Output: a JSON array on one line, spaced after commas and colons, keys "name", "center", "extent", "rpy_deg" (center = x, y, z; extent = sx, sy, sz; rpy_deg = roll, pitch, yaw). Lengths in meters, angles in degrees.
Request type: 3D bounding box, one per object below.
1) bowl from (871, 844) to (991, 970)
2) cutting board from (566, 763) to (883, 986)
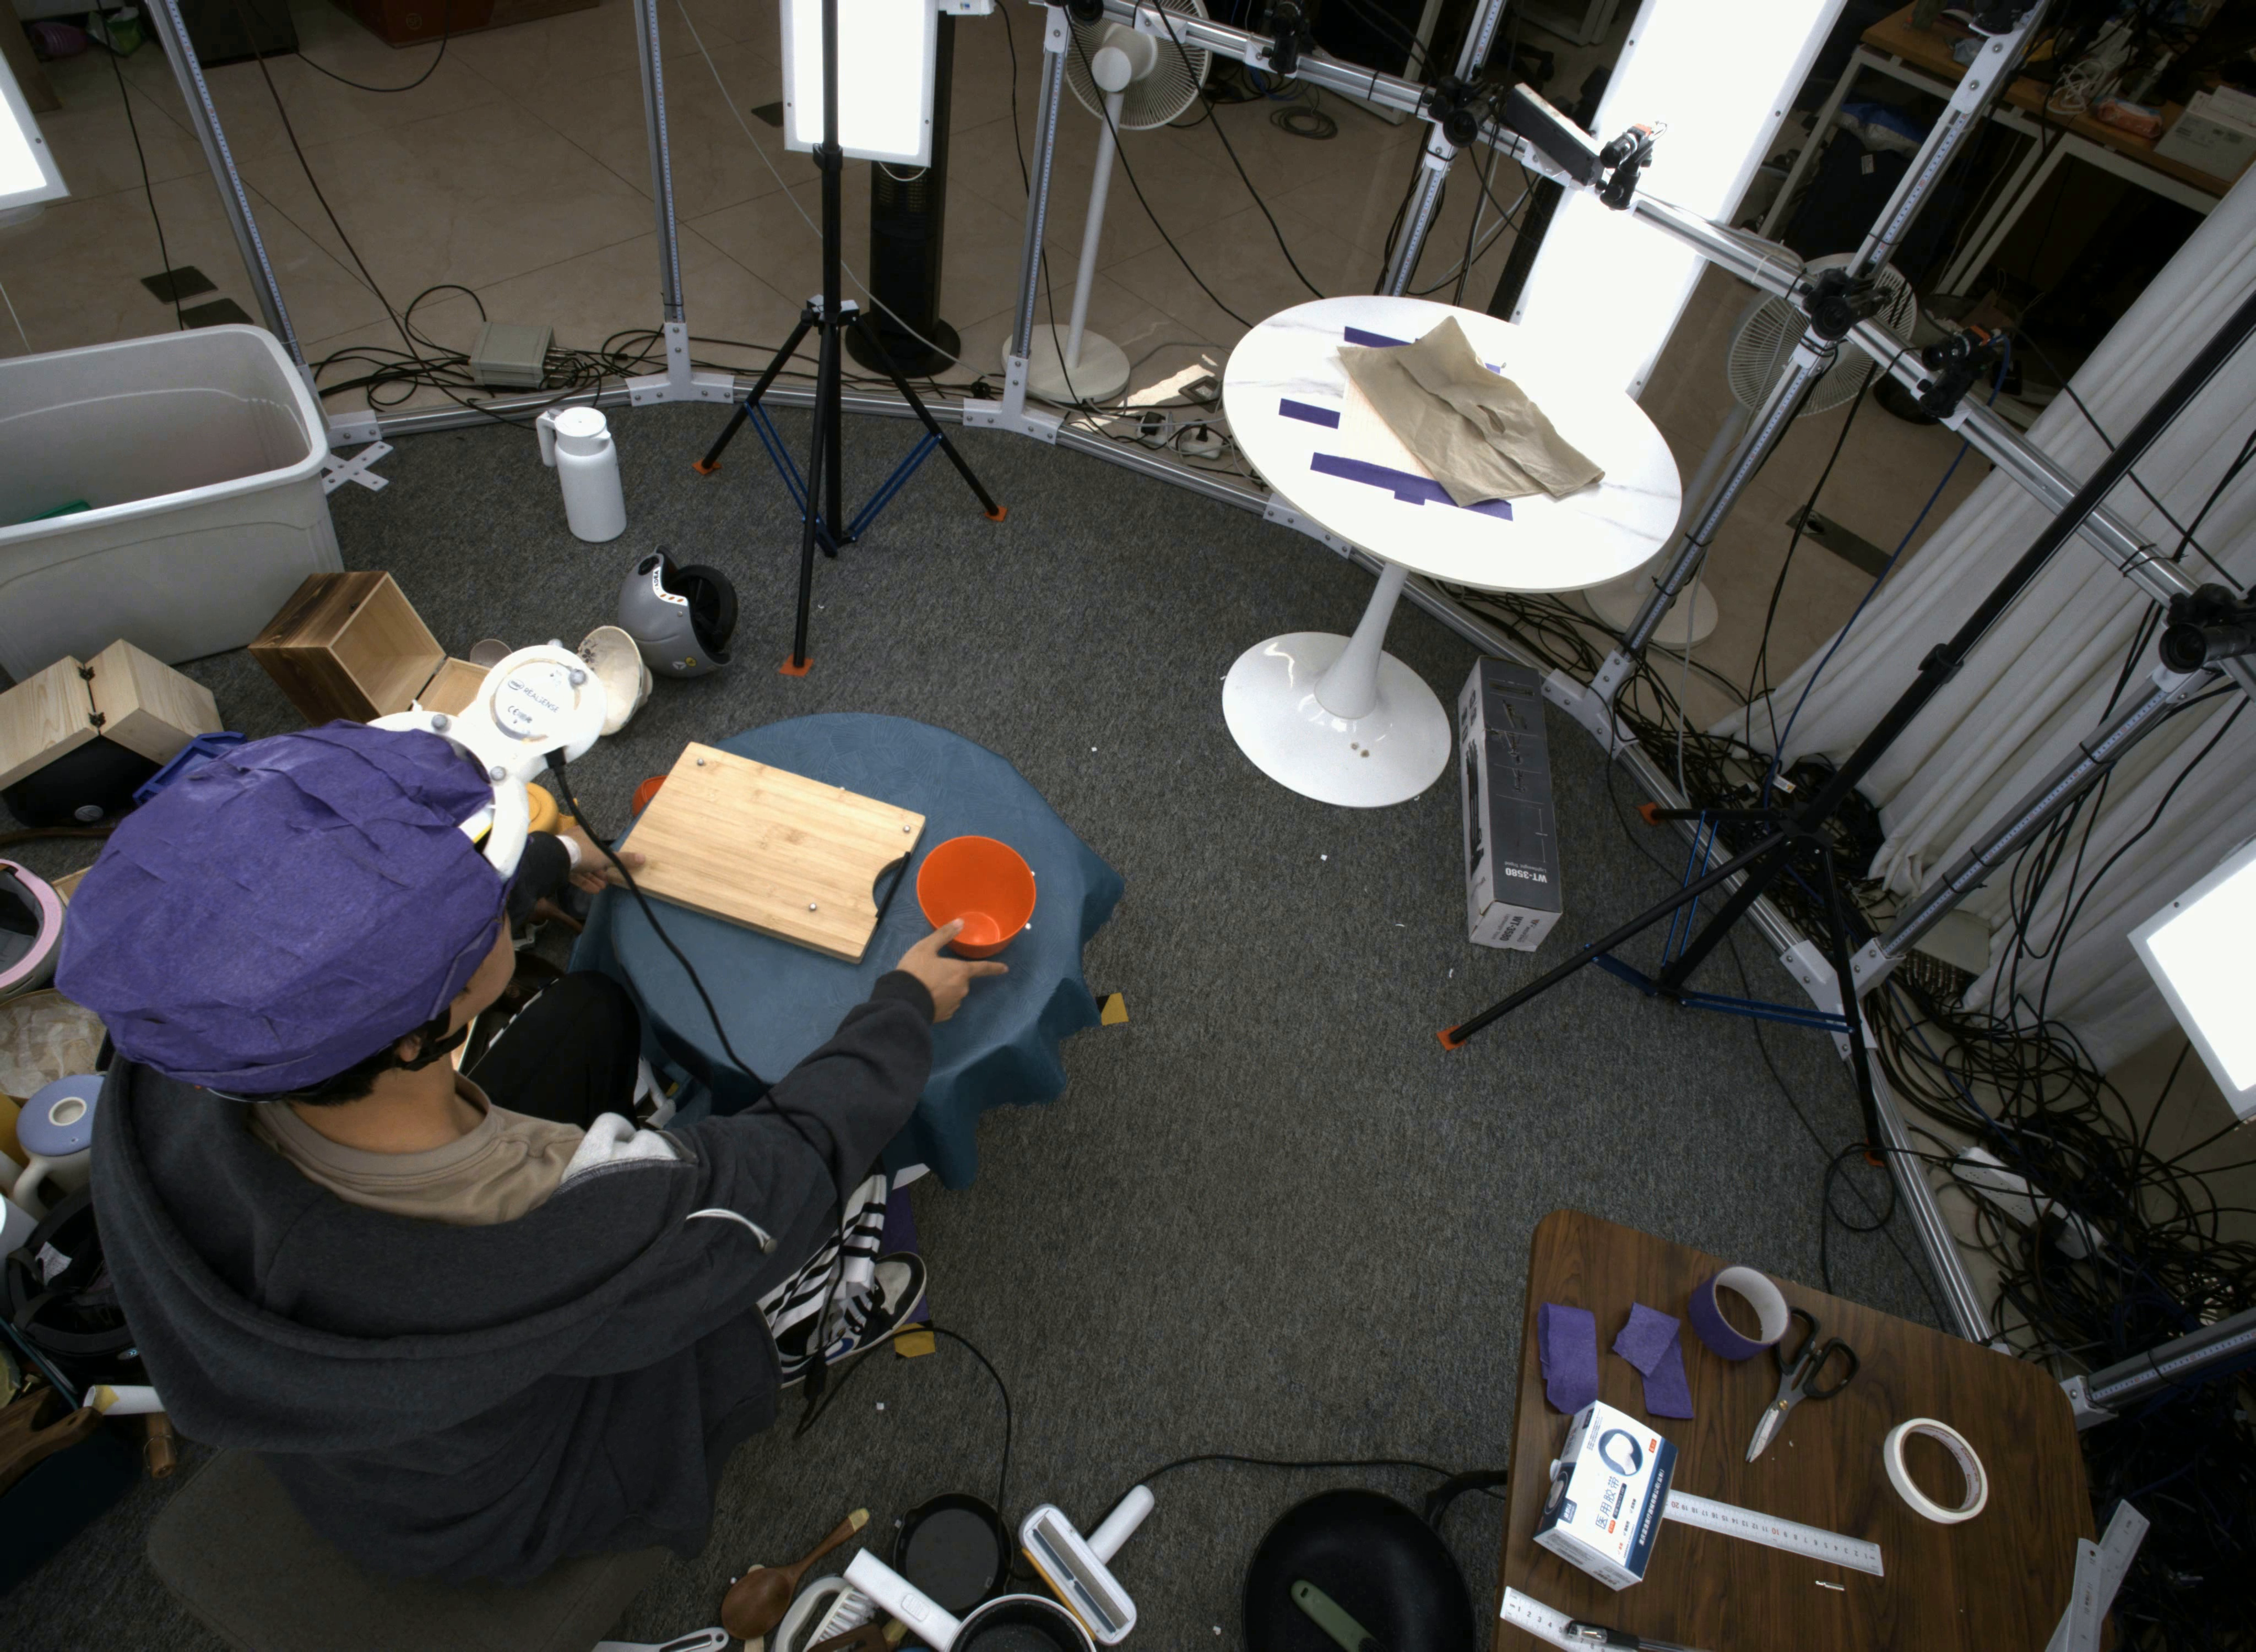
[{"name": "bowl", "center": [-0.248, 0.112, 1.625], "extent": [0.148, 0.107, 0.145], "rpy_deg": [9, 50, -9]}, {"name": "cutting board", "center": [-0.515, 0.055, 1.655], "extent": [0.346, 0.024, 0.247], "rpy_deg": [15, 52, -3]}]
